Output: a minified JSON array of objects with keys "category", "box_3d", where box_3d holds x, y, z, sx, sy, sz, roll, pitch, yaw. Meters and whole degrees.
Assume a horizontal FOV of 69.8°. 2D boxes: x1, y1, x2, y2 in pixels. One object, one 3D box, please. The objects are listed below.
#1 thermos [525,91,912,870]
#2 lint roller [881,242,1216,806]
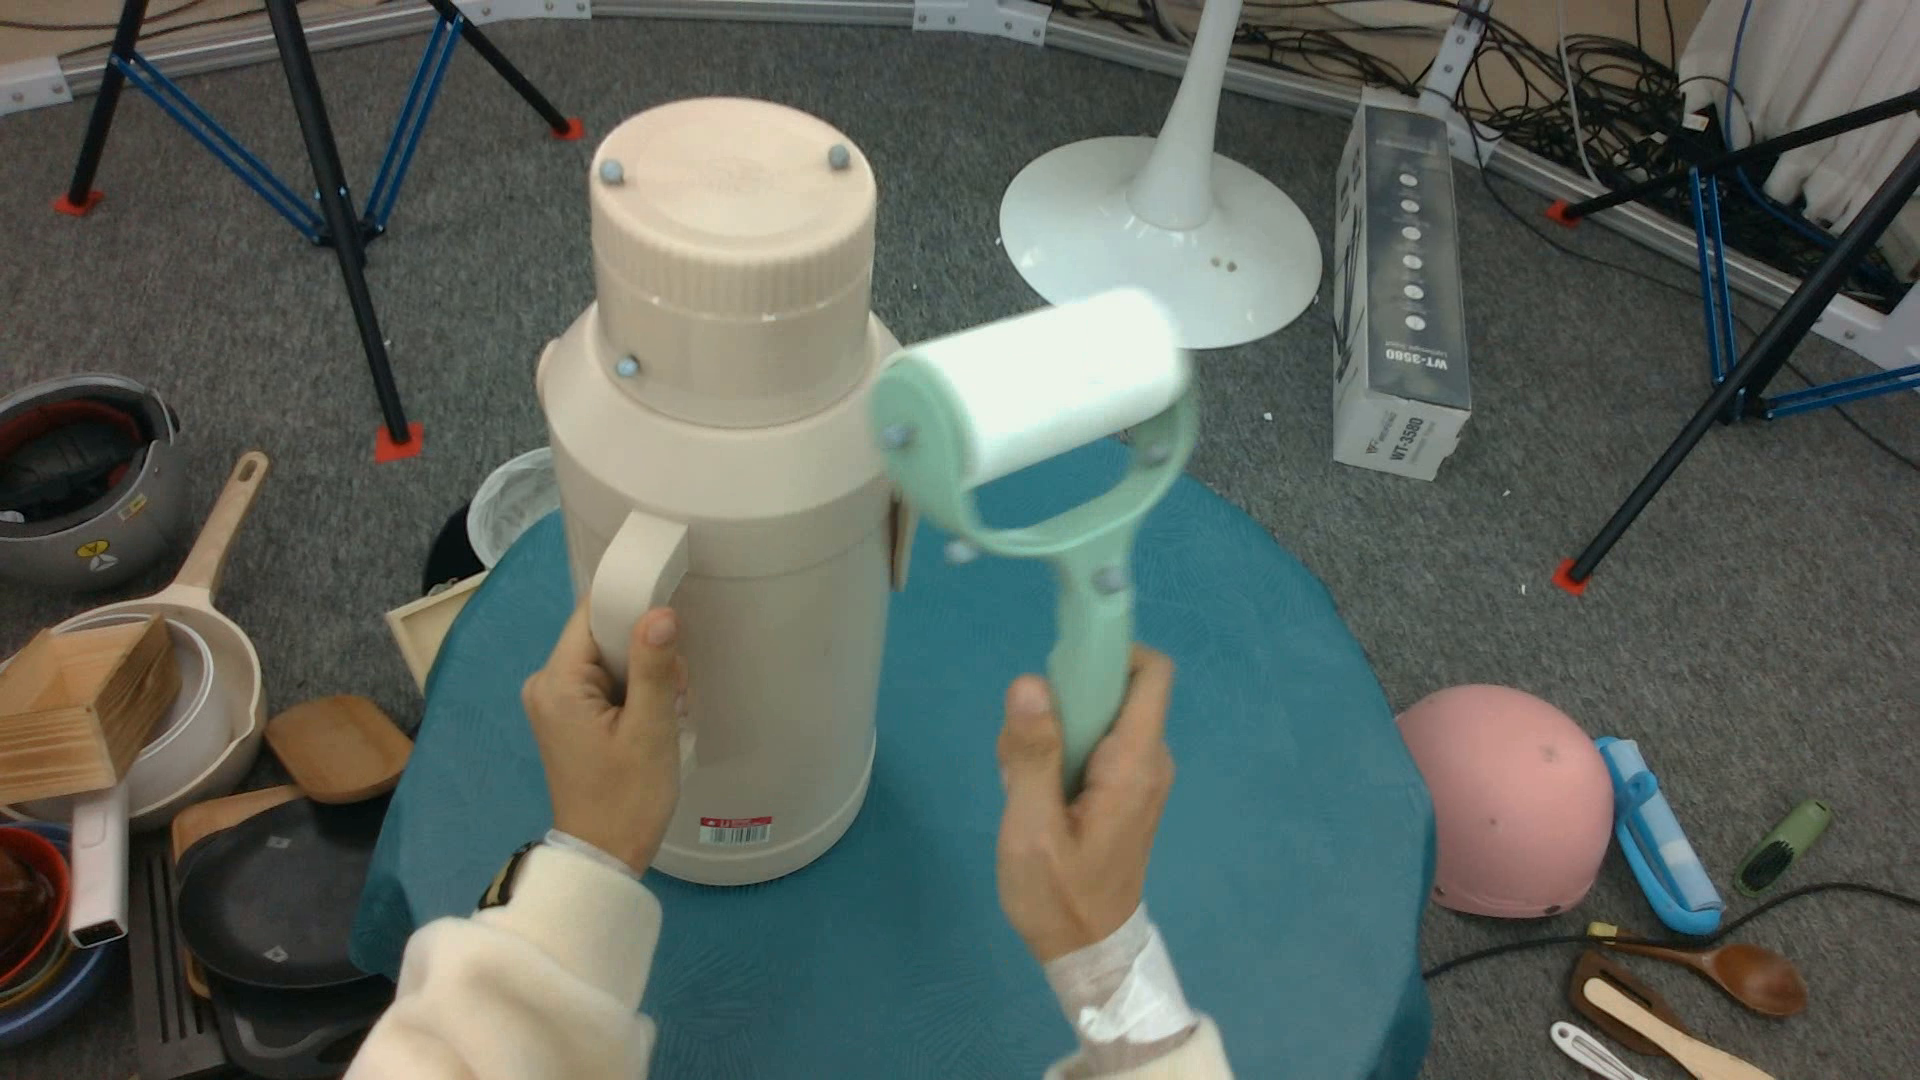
[{"category":"thermos","box_3d":[-0.119,0.003,0.649,0.175,0.404,0.208,17,48,5]},{"category":"lint roller","box_3d":[0.034,0.010,0.449,0.048,0.197,0.117,18,32,41]}]
